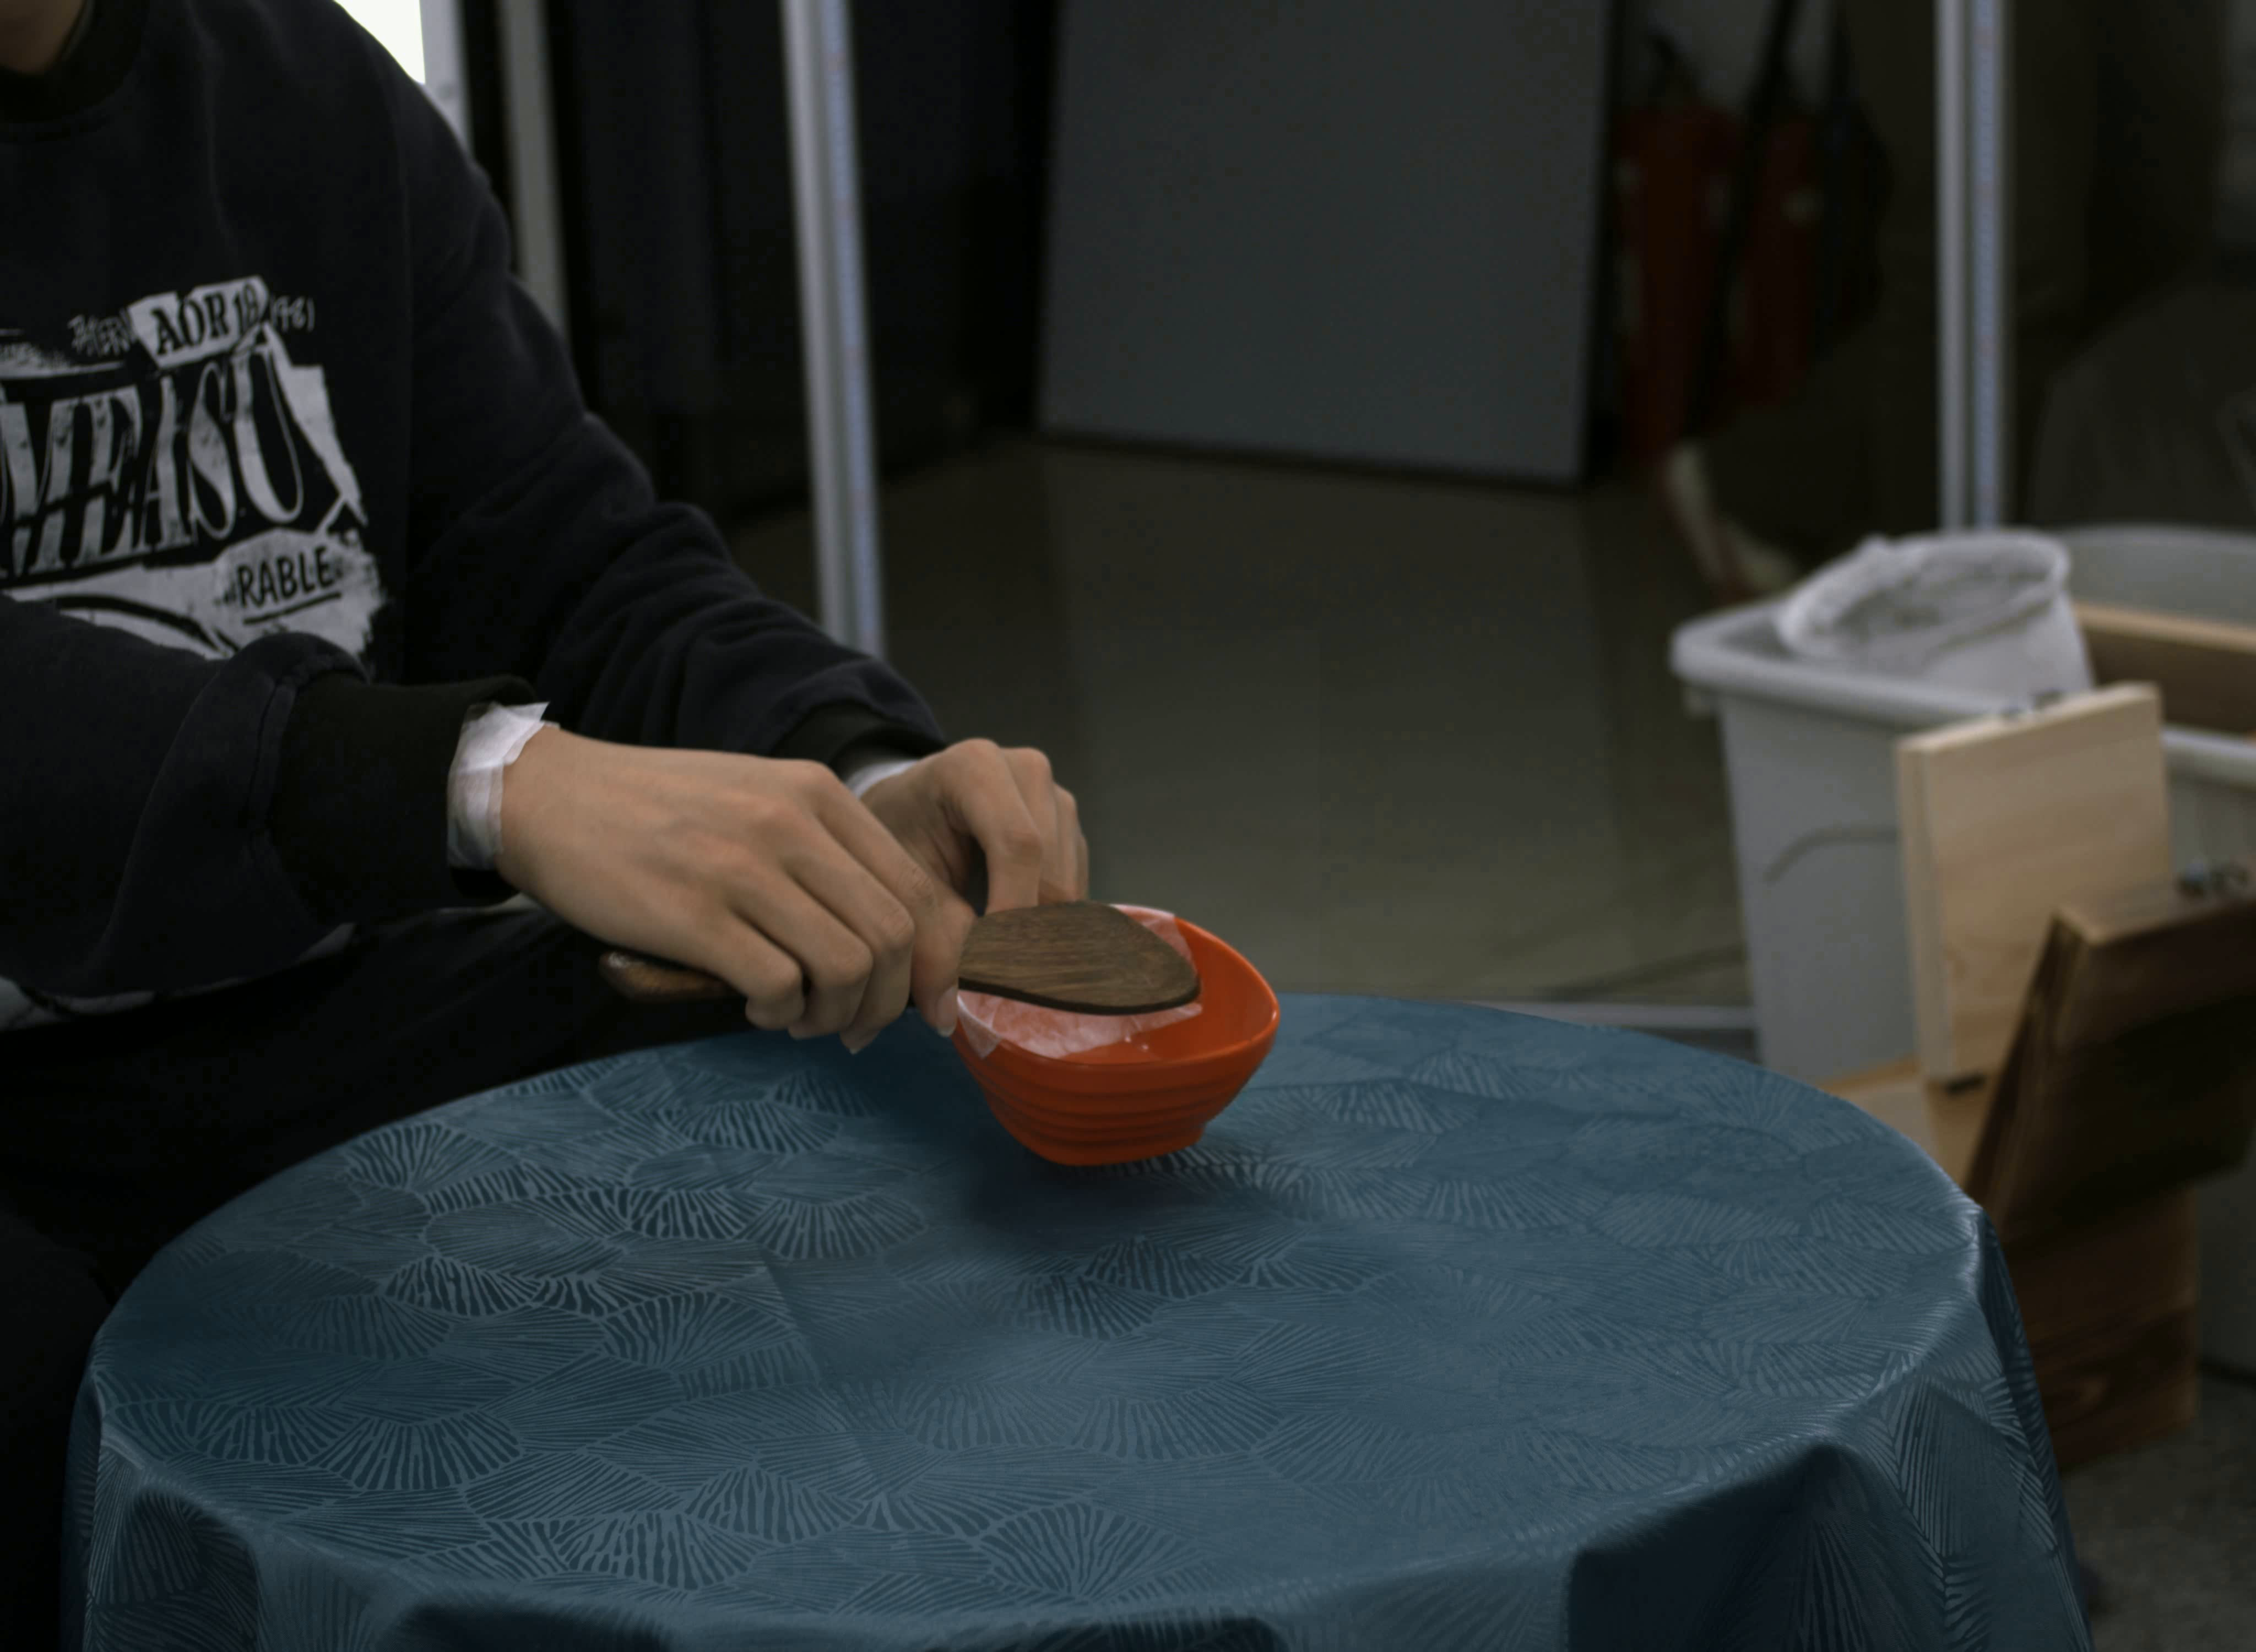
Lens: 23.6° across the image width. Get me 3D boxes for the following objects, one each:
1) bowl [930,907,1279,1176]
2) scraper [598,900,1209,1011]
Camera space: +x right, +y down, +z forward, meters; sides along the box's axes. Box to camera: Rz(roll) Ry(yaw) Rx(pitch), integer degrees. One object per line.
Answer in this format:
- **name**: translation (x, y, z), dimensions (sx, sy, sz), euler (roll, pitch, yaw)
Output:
- **bowl**: translation (-0.010, 0.076, 1.793), dimensions (0.117, 0.052, 0.119), euler (5, 27, -3)
- **scraper**: translation (-0.072, 0.042, 1.693), dimensions (0.206, 0.011, 0.077), euler (0, 22, -36)
